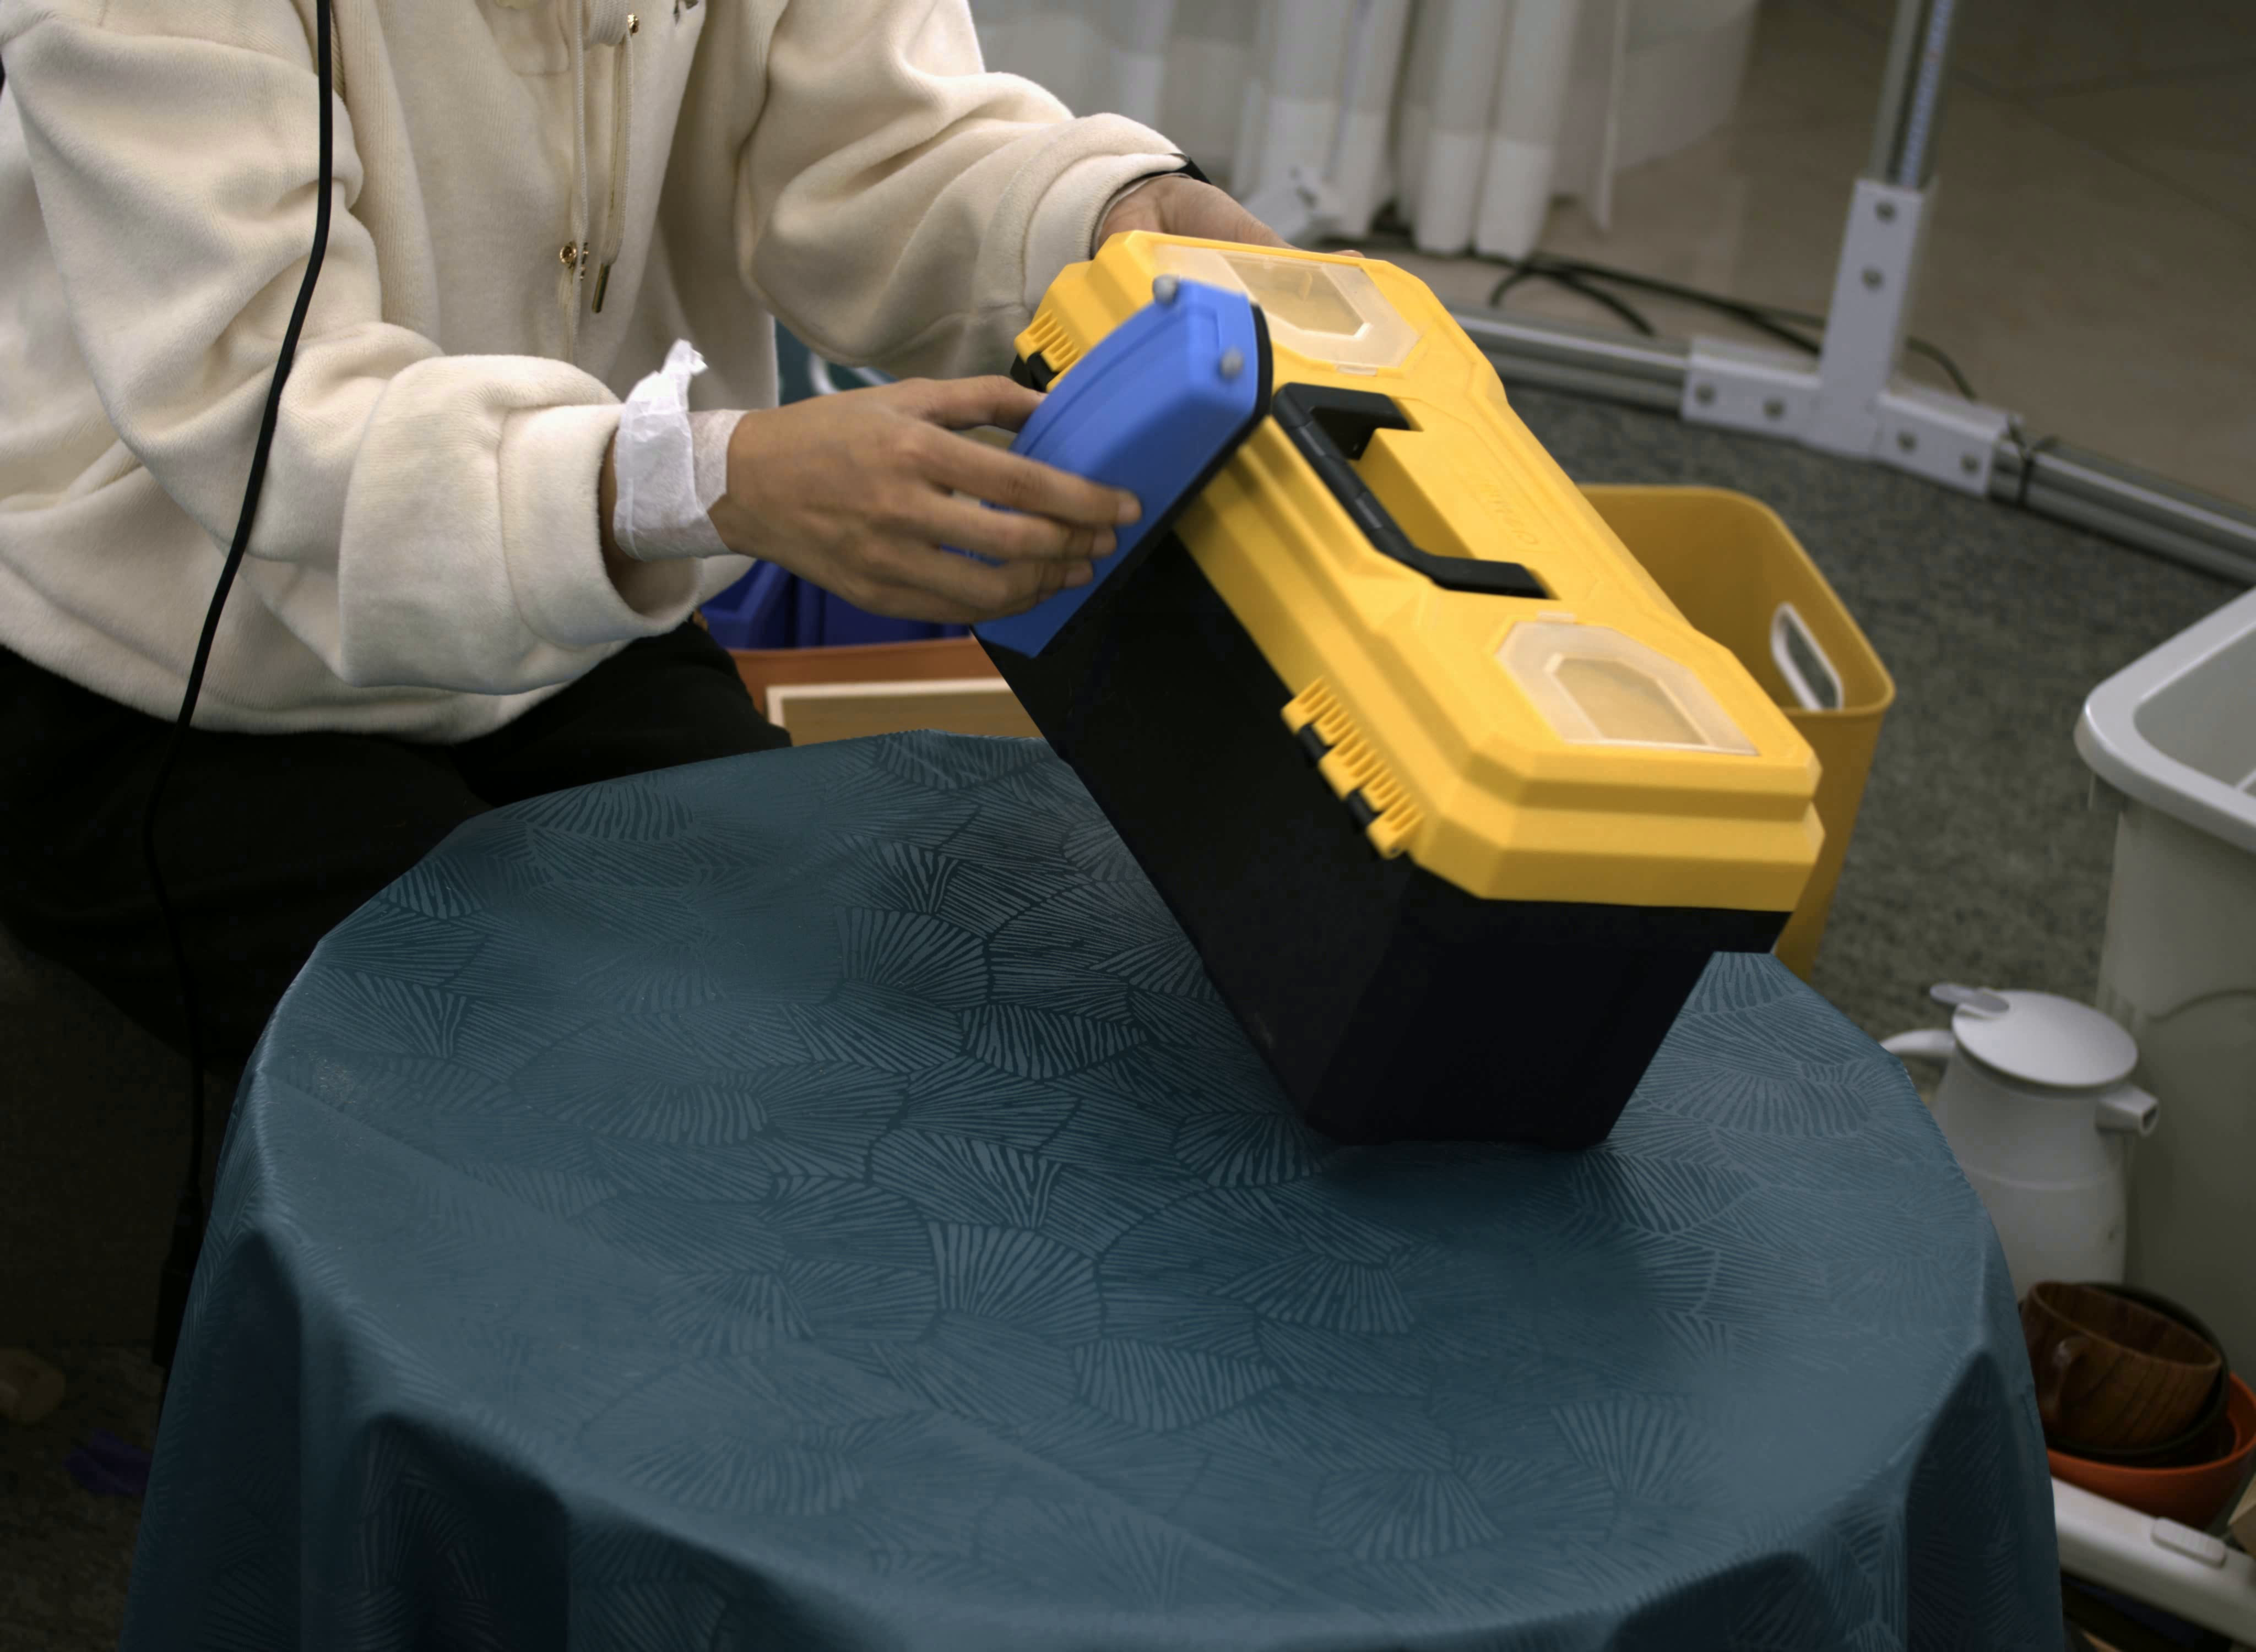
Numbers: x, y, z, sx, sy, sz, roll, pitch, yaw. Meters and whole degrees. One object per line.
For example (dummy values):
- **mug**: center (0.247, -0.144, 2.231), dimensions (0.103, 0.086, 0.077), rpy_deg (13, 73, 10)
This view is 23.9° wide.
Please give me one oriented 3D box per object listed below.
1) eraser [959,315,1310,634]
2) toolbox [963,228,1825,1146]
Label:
- **eraser**: center (-0.004, -0.121, 1.835), dimensions (0.047, 0.162, 0.054), rpy_deg (15, 60, -35)
- **toolbox**: center (0.084, -0.051, 1.895), dimensions (0.180, 0.172, 0.355), rpy_deg (3, 35, -33)
